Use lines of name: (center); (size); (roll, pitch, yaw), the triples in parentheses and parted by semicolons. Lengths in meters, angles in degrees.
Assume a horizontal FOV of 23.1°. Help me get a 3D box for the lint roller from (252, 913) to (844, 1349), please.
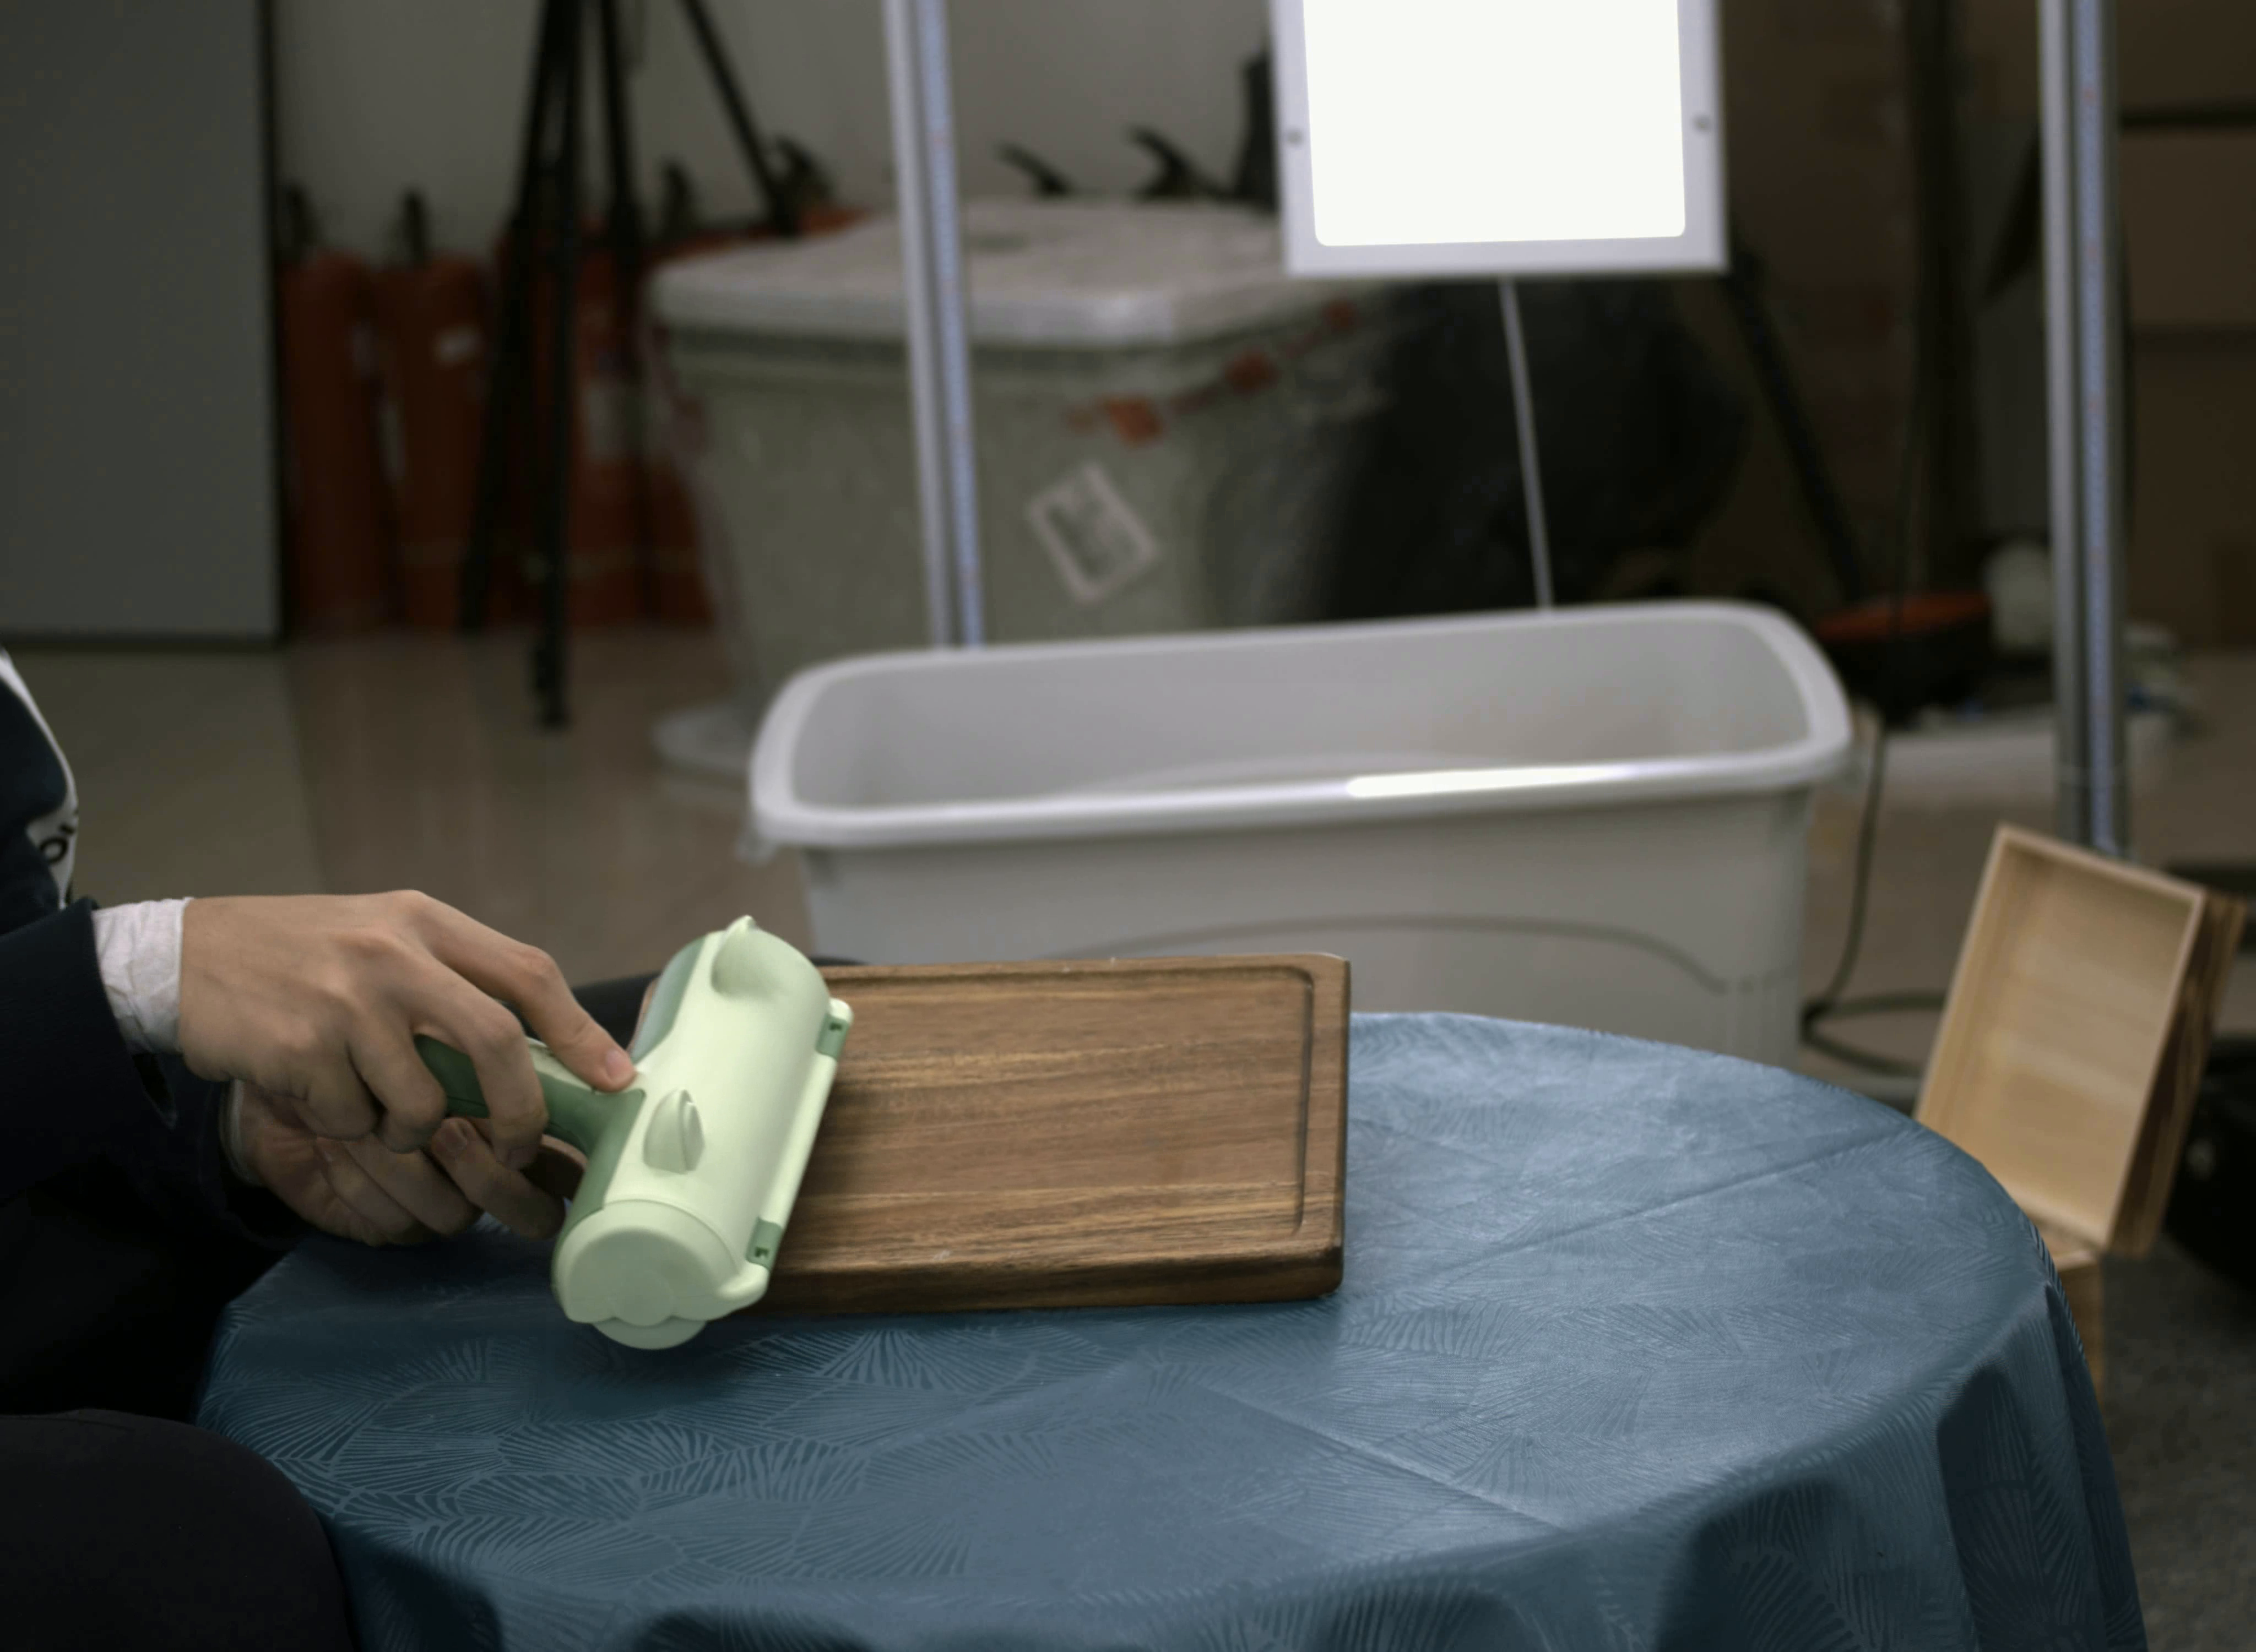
lint roller: (-0.192, 0.072, 1.806); (0.182, 0.083, 0.197); (23, 28, -3)

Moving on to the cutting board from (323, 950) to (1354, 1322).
cutting board: (-0.098, 0.104, 1.868); (0.353, 0.023, 0.200); (-3, 28, 6)
